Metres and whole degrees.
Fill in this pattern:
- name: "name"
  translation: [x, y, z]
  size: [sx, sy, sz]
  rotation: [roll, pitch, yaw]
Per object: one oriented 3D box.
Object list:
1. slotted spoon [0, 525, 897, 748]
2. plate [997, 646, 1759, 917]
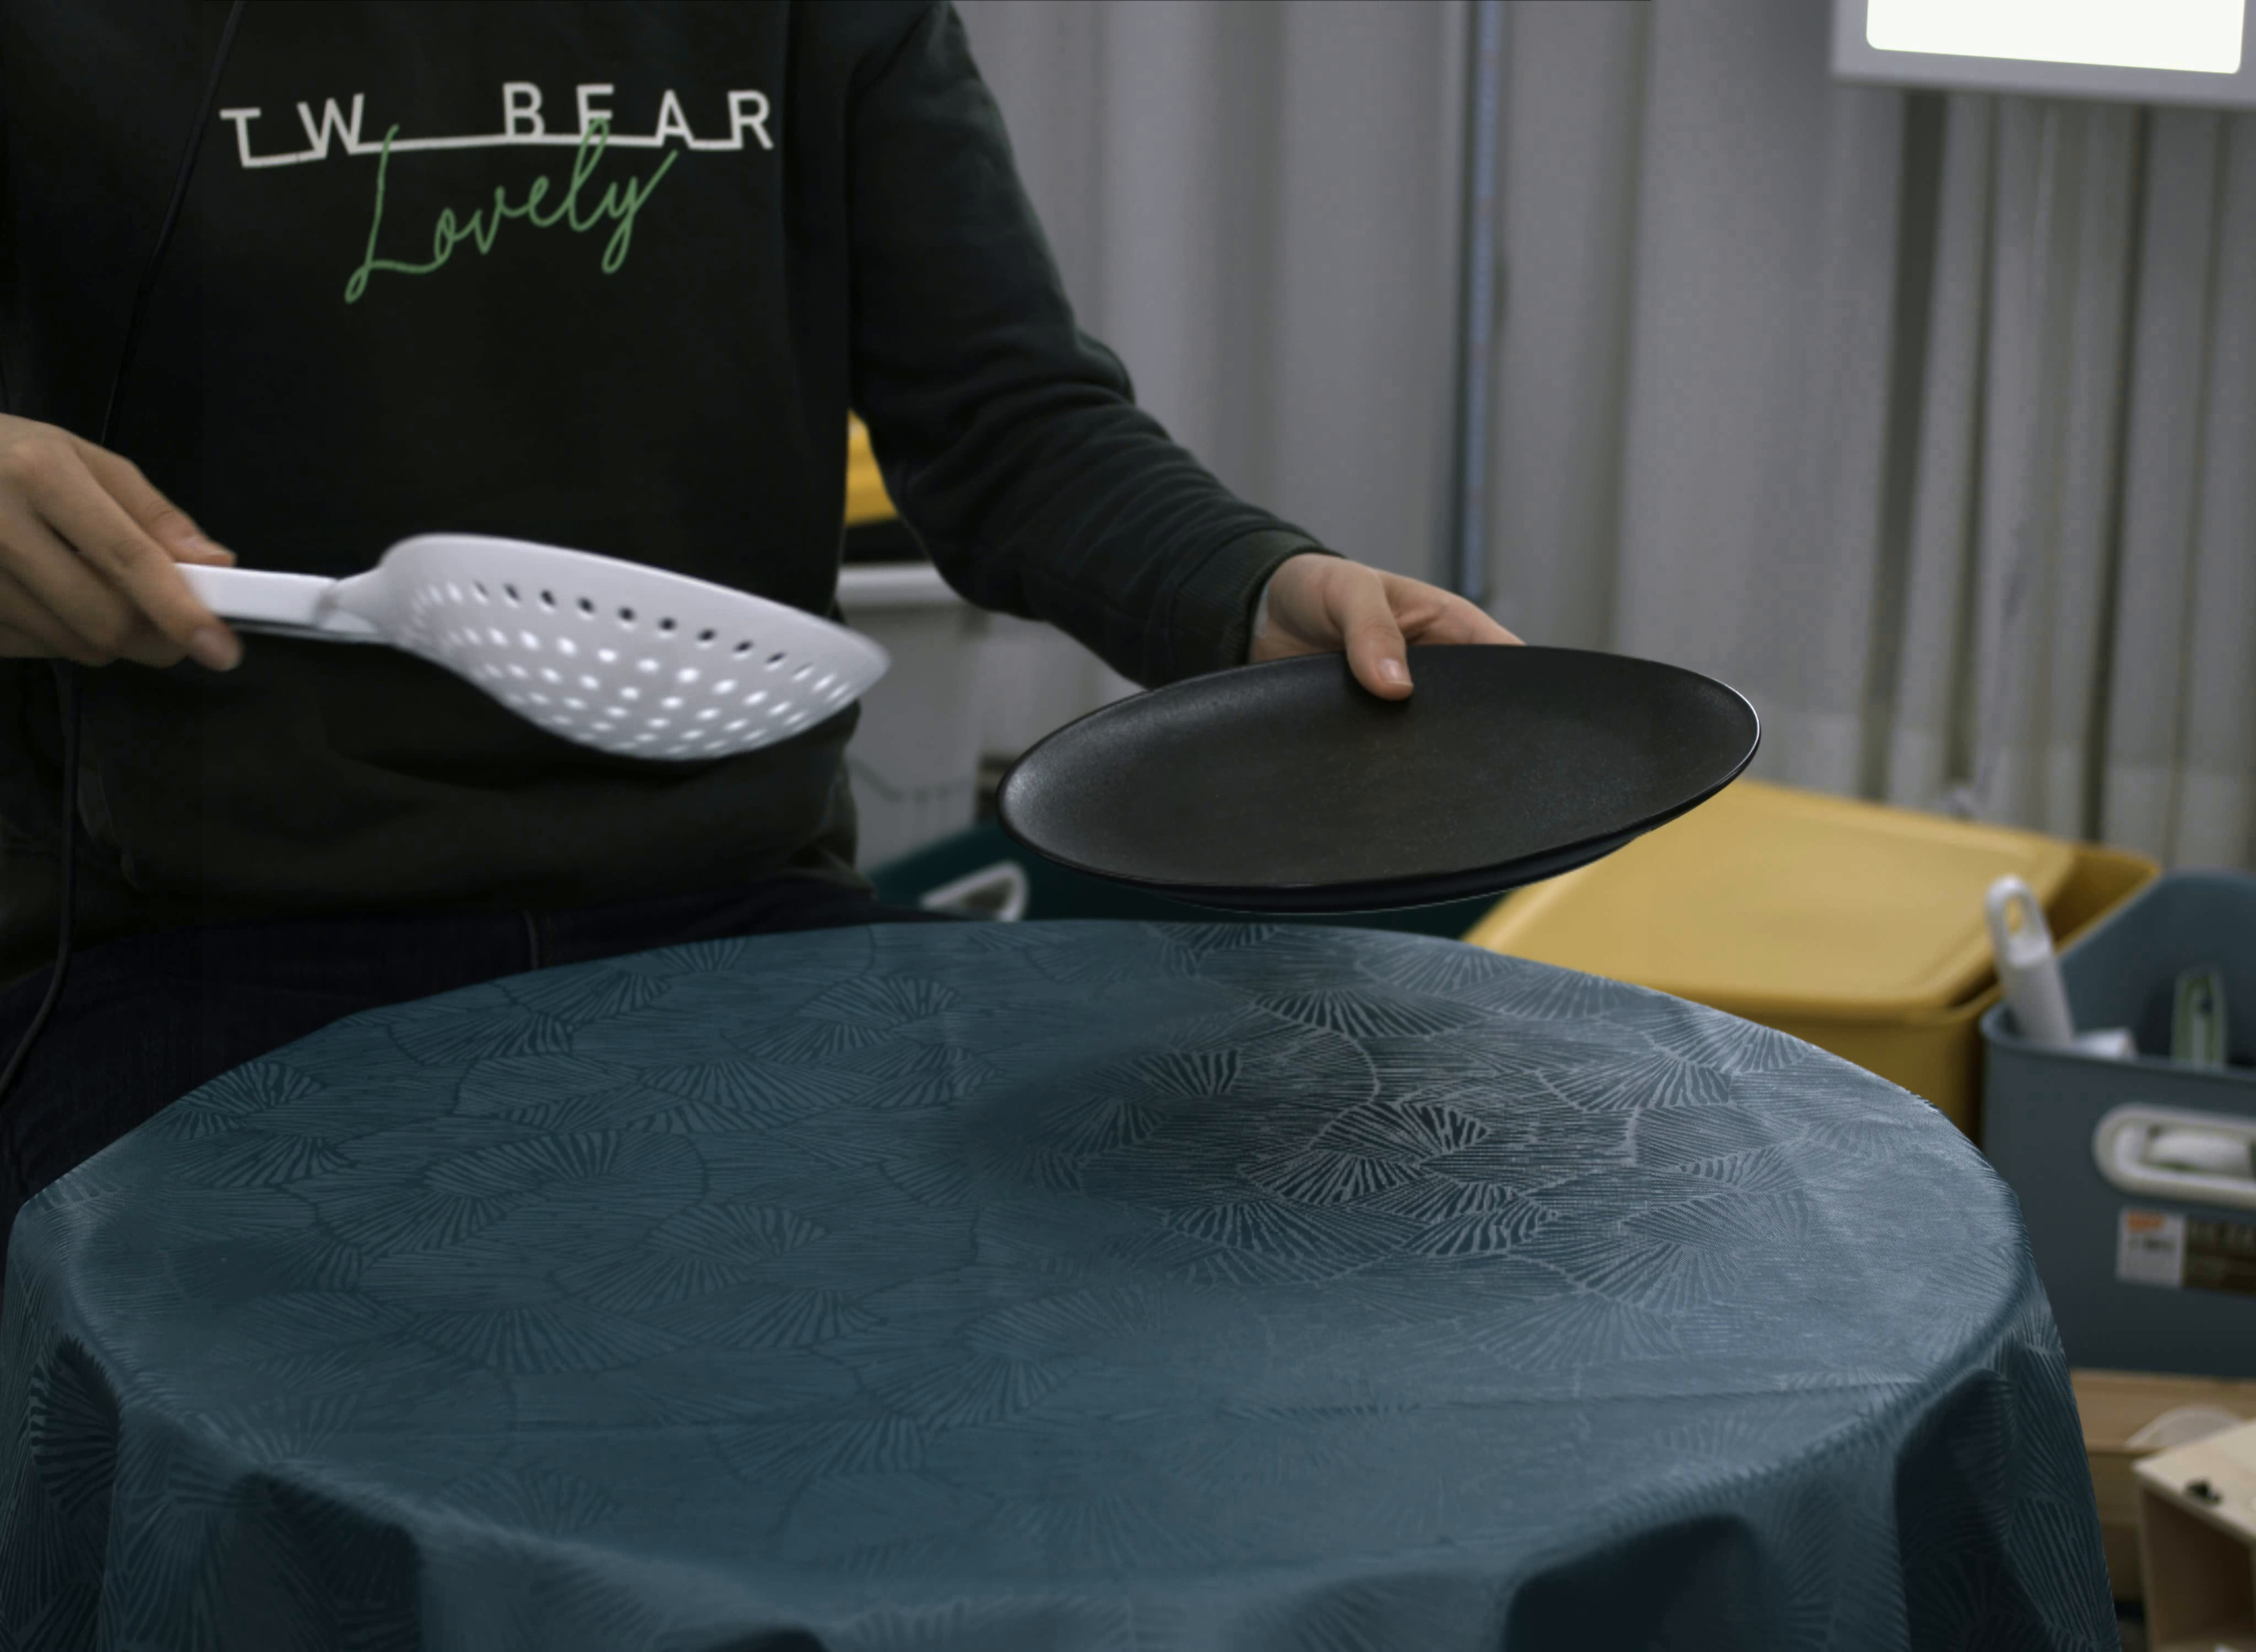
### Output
- name: "slotted spoon"
  translation: [-0.212, -0.064, 1.489]
  size: [0.345, 0.046, 0.137]
  rotation: [13, -4, 40]
- name: "plate"
  translation: [0.080, -0.013, 1.673]
  size: [0.243, 0.023, 0.243]
  rotation: [-5, 18, 2]
